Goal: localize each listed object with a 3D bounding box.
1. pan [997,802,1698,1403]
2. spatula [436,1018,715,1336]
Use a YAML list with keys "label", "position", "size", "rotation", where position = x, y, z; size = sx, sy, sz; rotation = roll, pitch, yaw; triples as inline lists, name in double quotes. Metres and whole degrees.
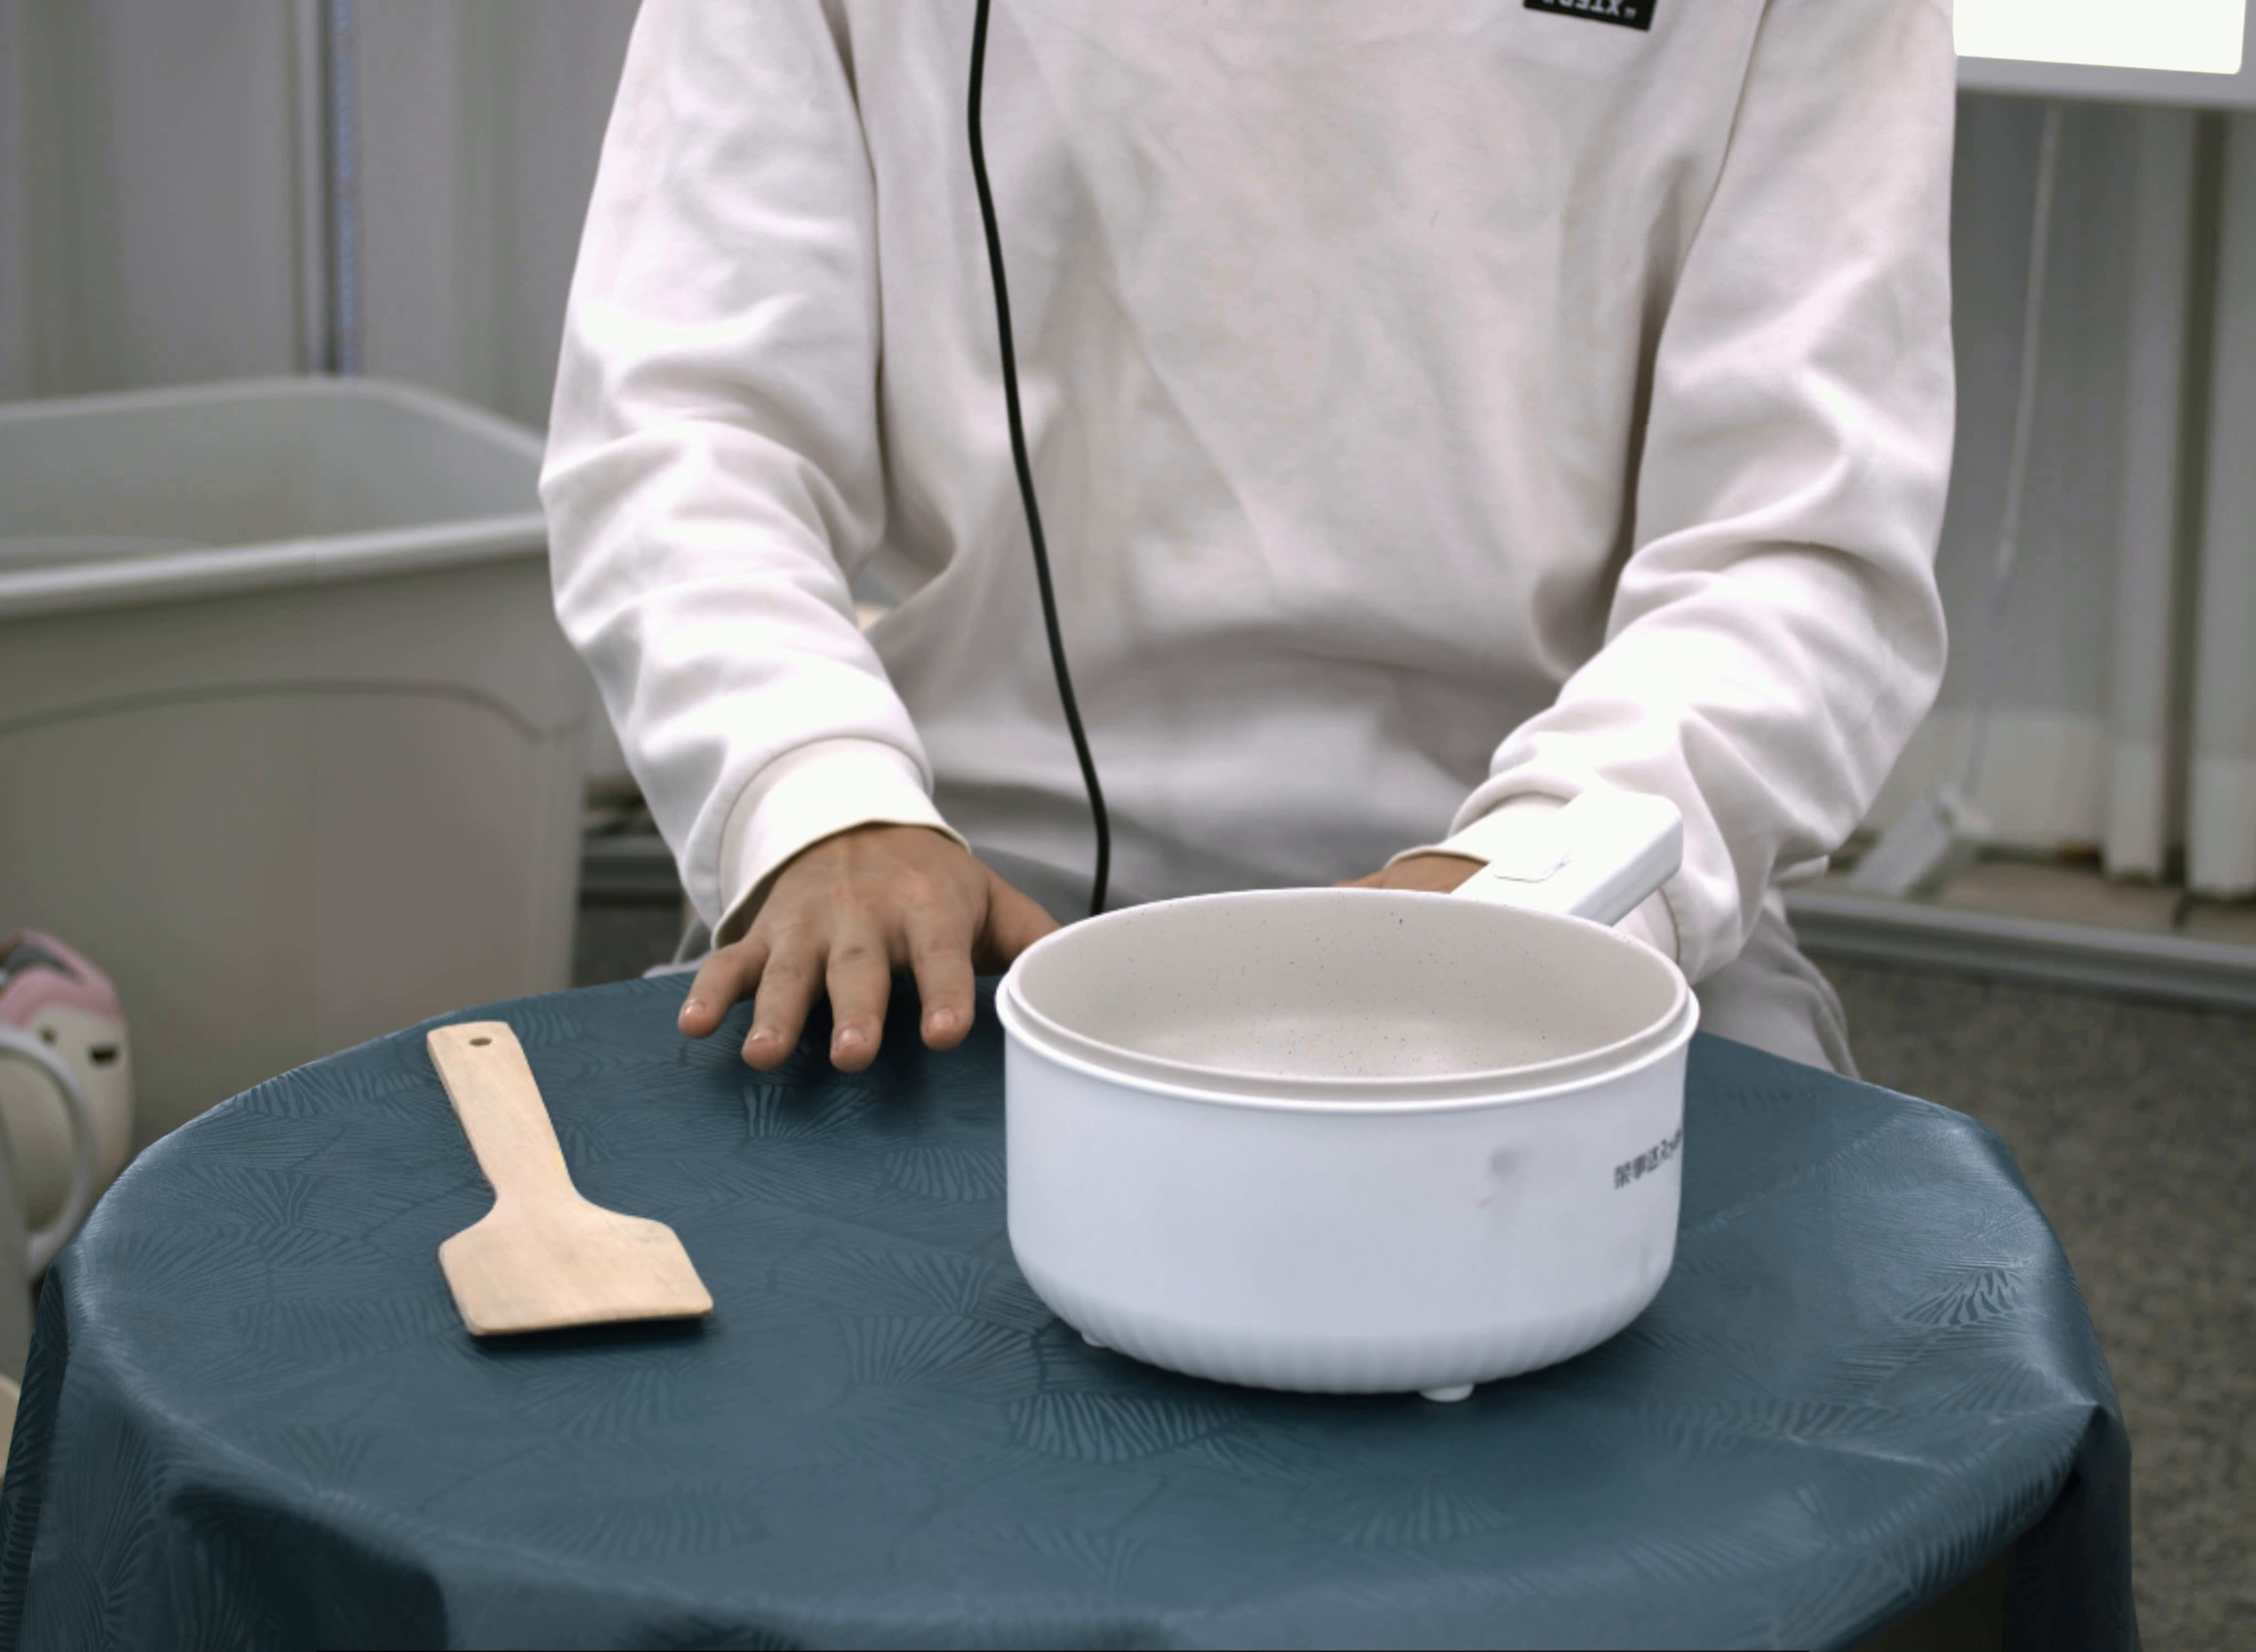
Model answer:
- label: "pan"
  position: [0.093, 0.077, 1.585]
  size: [0.199, 0.103, 0.355]
  rotation: [6, 15, 22]
- label: "spatula"
  position: [-0.186, 0.106, 1.629]
  size: [0.072, 0.011, 0.290]
  rotation: [-5, 16, -13]
